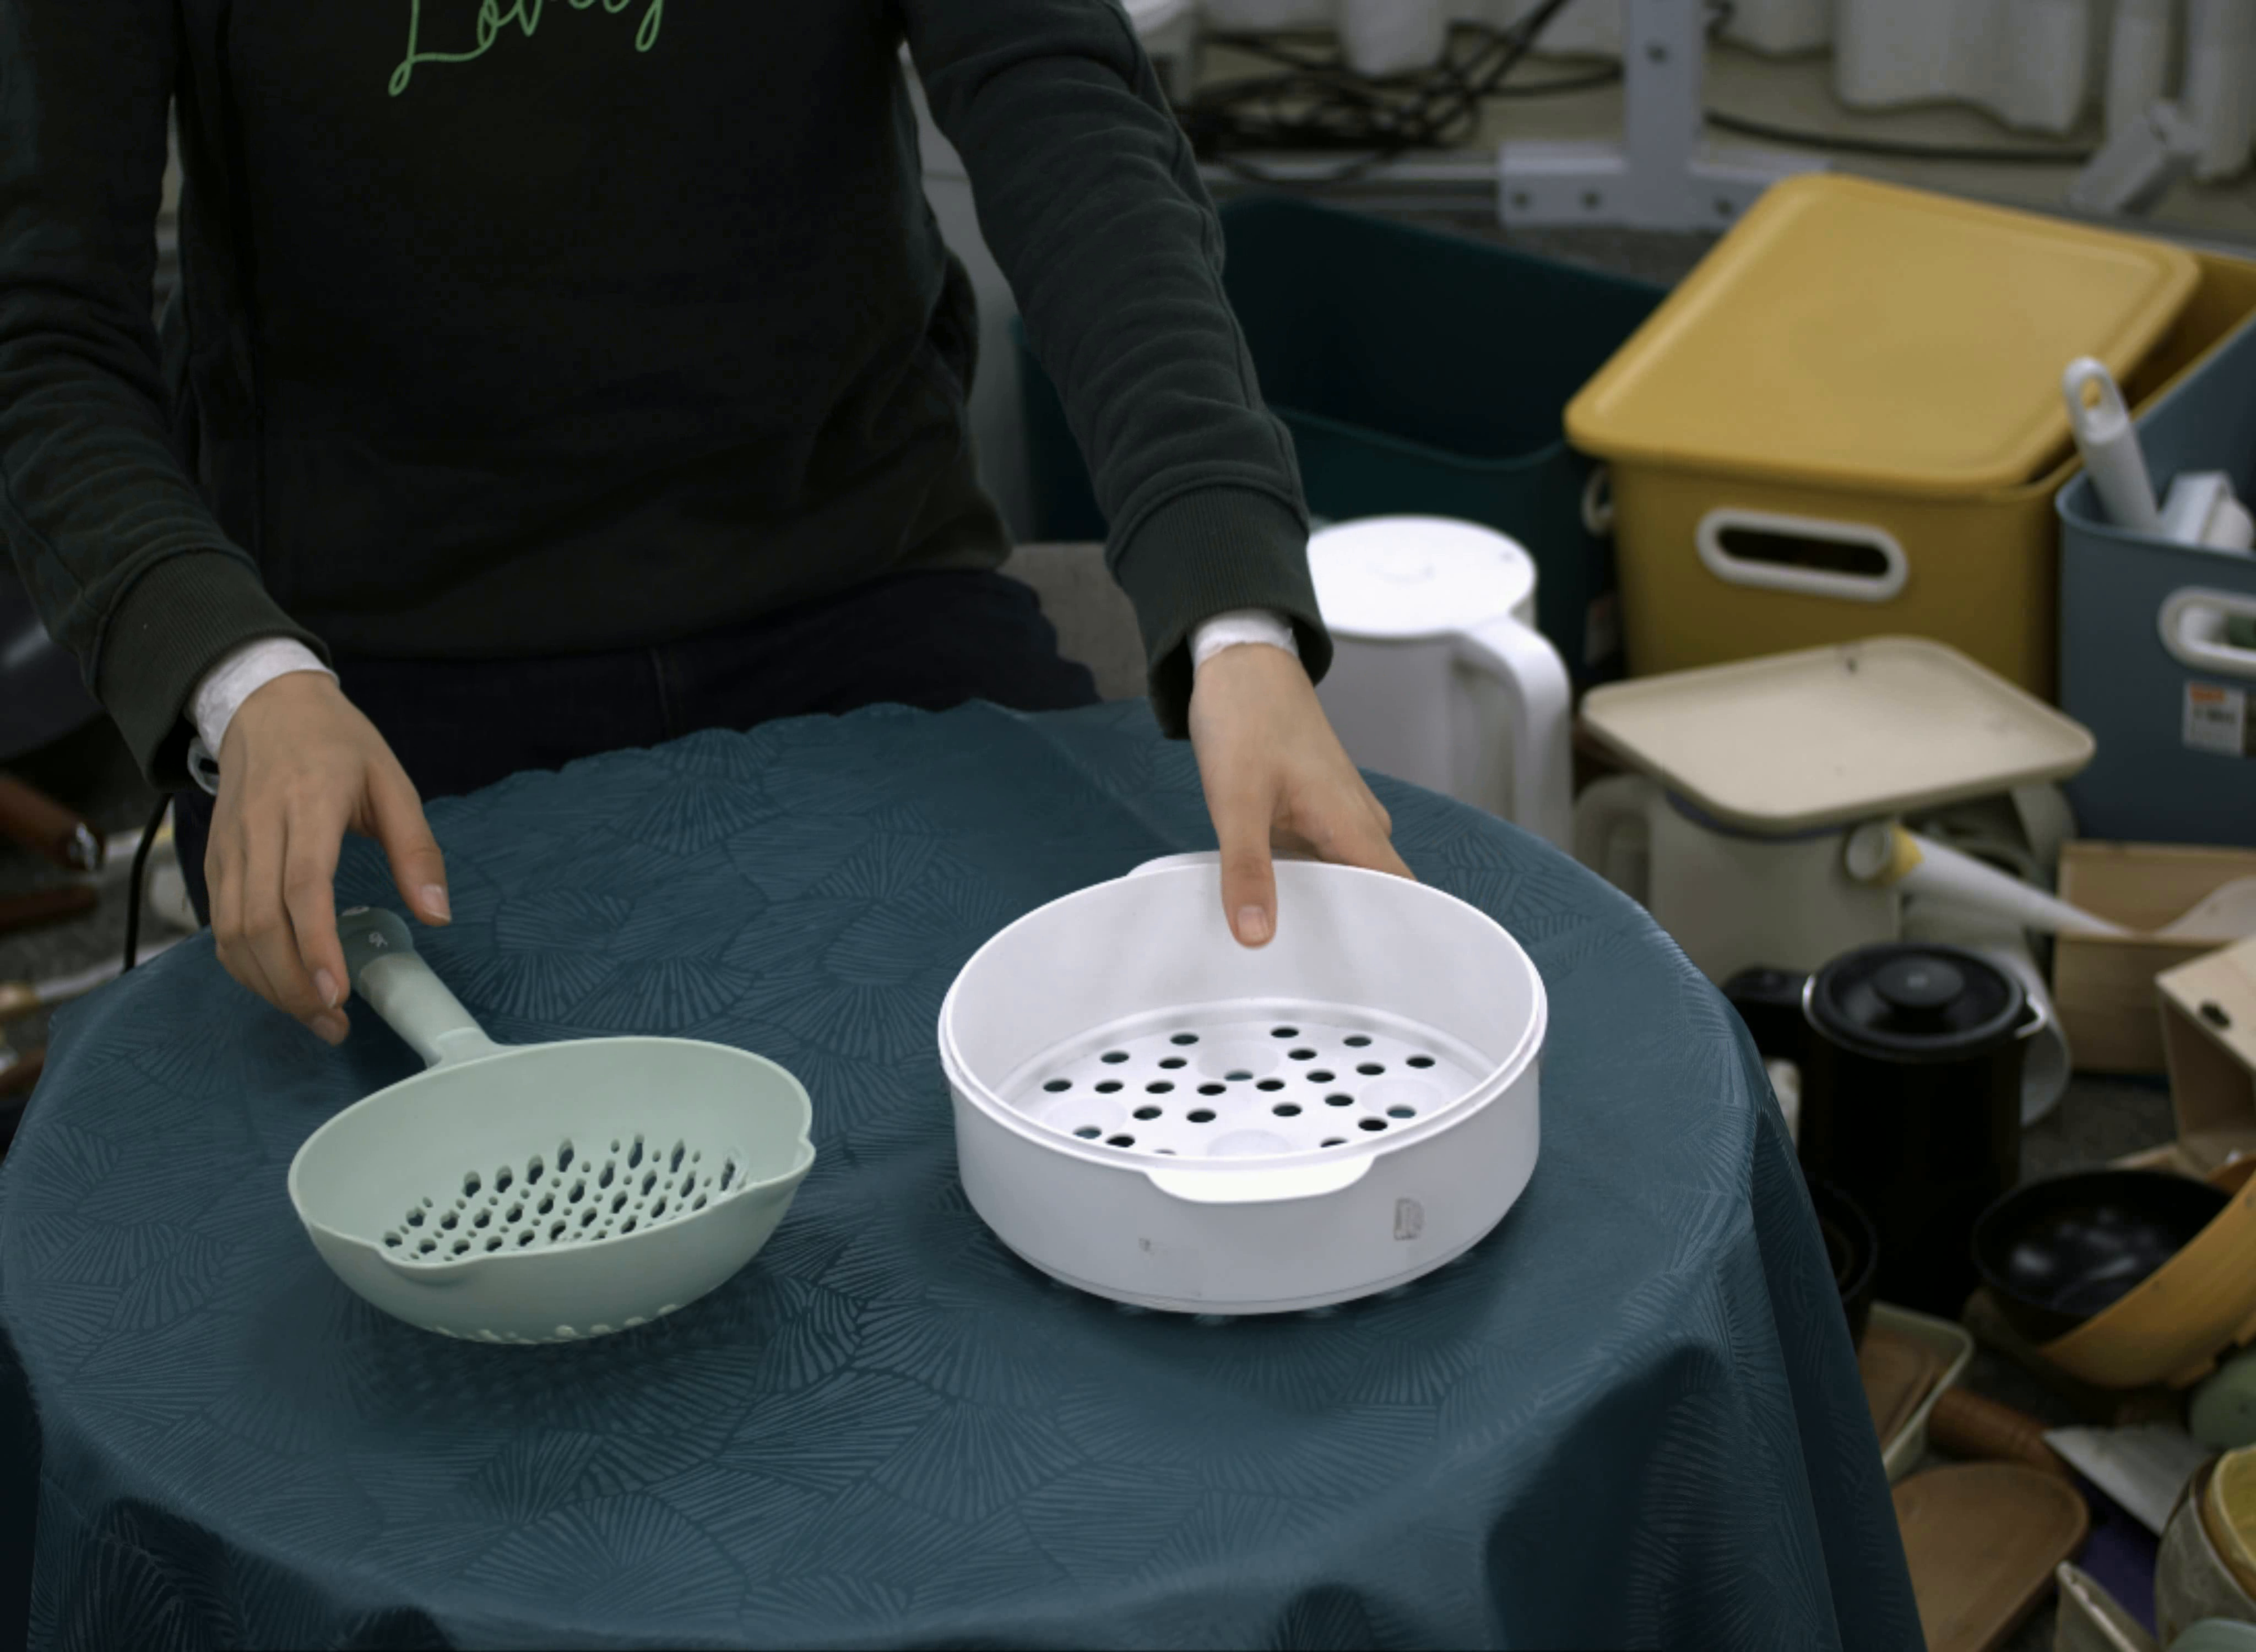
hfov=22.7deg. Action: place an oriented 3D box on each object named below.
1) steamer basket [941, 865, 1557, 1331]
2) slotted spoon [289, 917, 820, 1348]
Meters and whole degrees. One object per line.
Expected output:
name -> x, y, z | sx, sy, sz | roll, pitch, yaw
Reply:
steamer basket -> 0.040, 0.091, 1.848 | 0.201, 0.068, 0.234 | -3, 27, -2
slotted spoon -> -0.219, 0.086, 1.884 | 0.170, 0.074, 0.361 | -12, 28, -19
